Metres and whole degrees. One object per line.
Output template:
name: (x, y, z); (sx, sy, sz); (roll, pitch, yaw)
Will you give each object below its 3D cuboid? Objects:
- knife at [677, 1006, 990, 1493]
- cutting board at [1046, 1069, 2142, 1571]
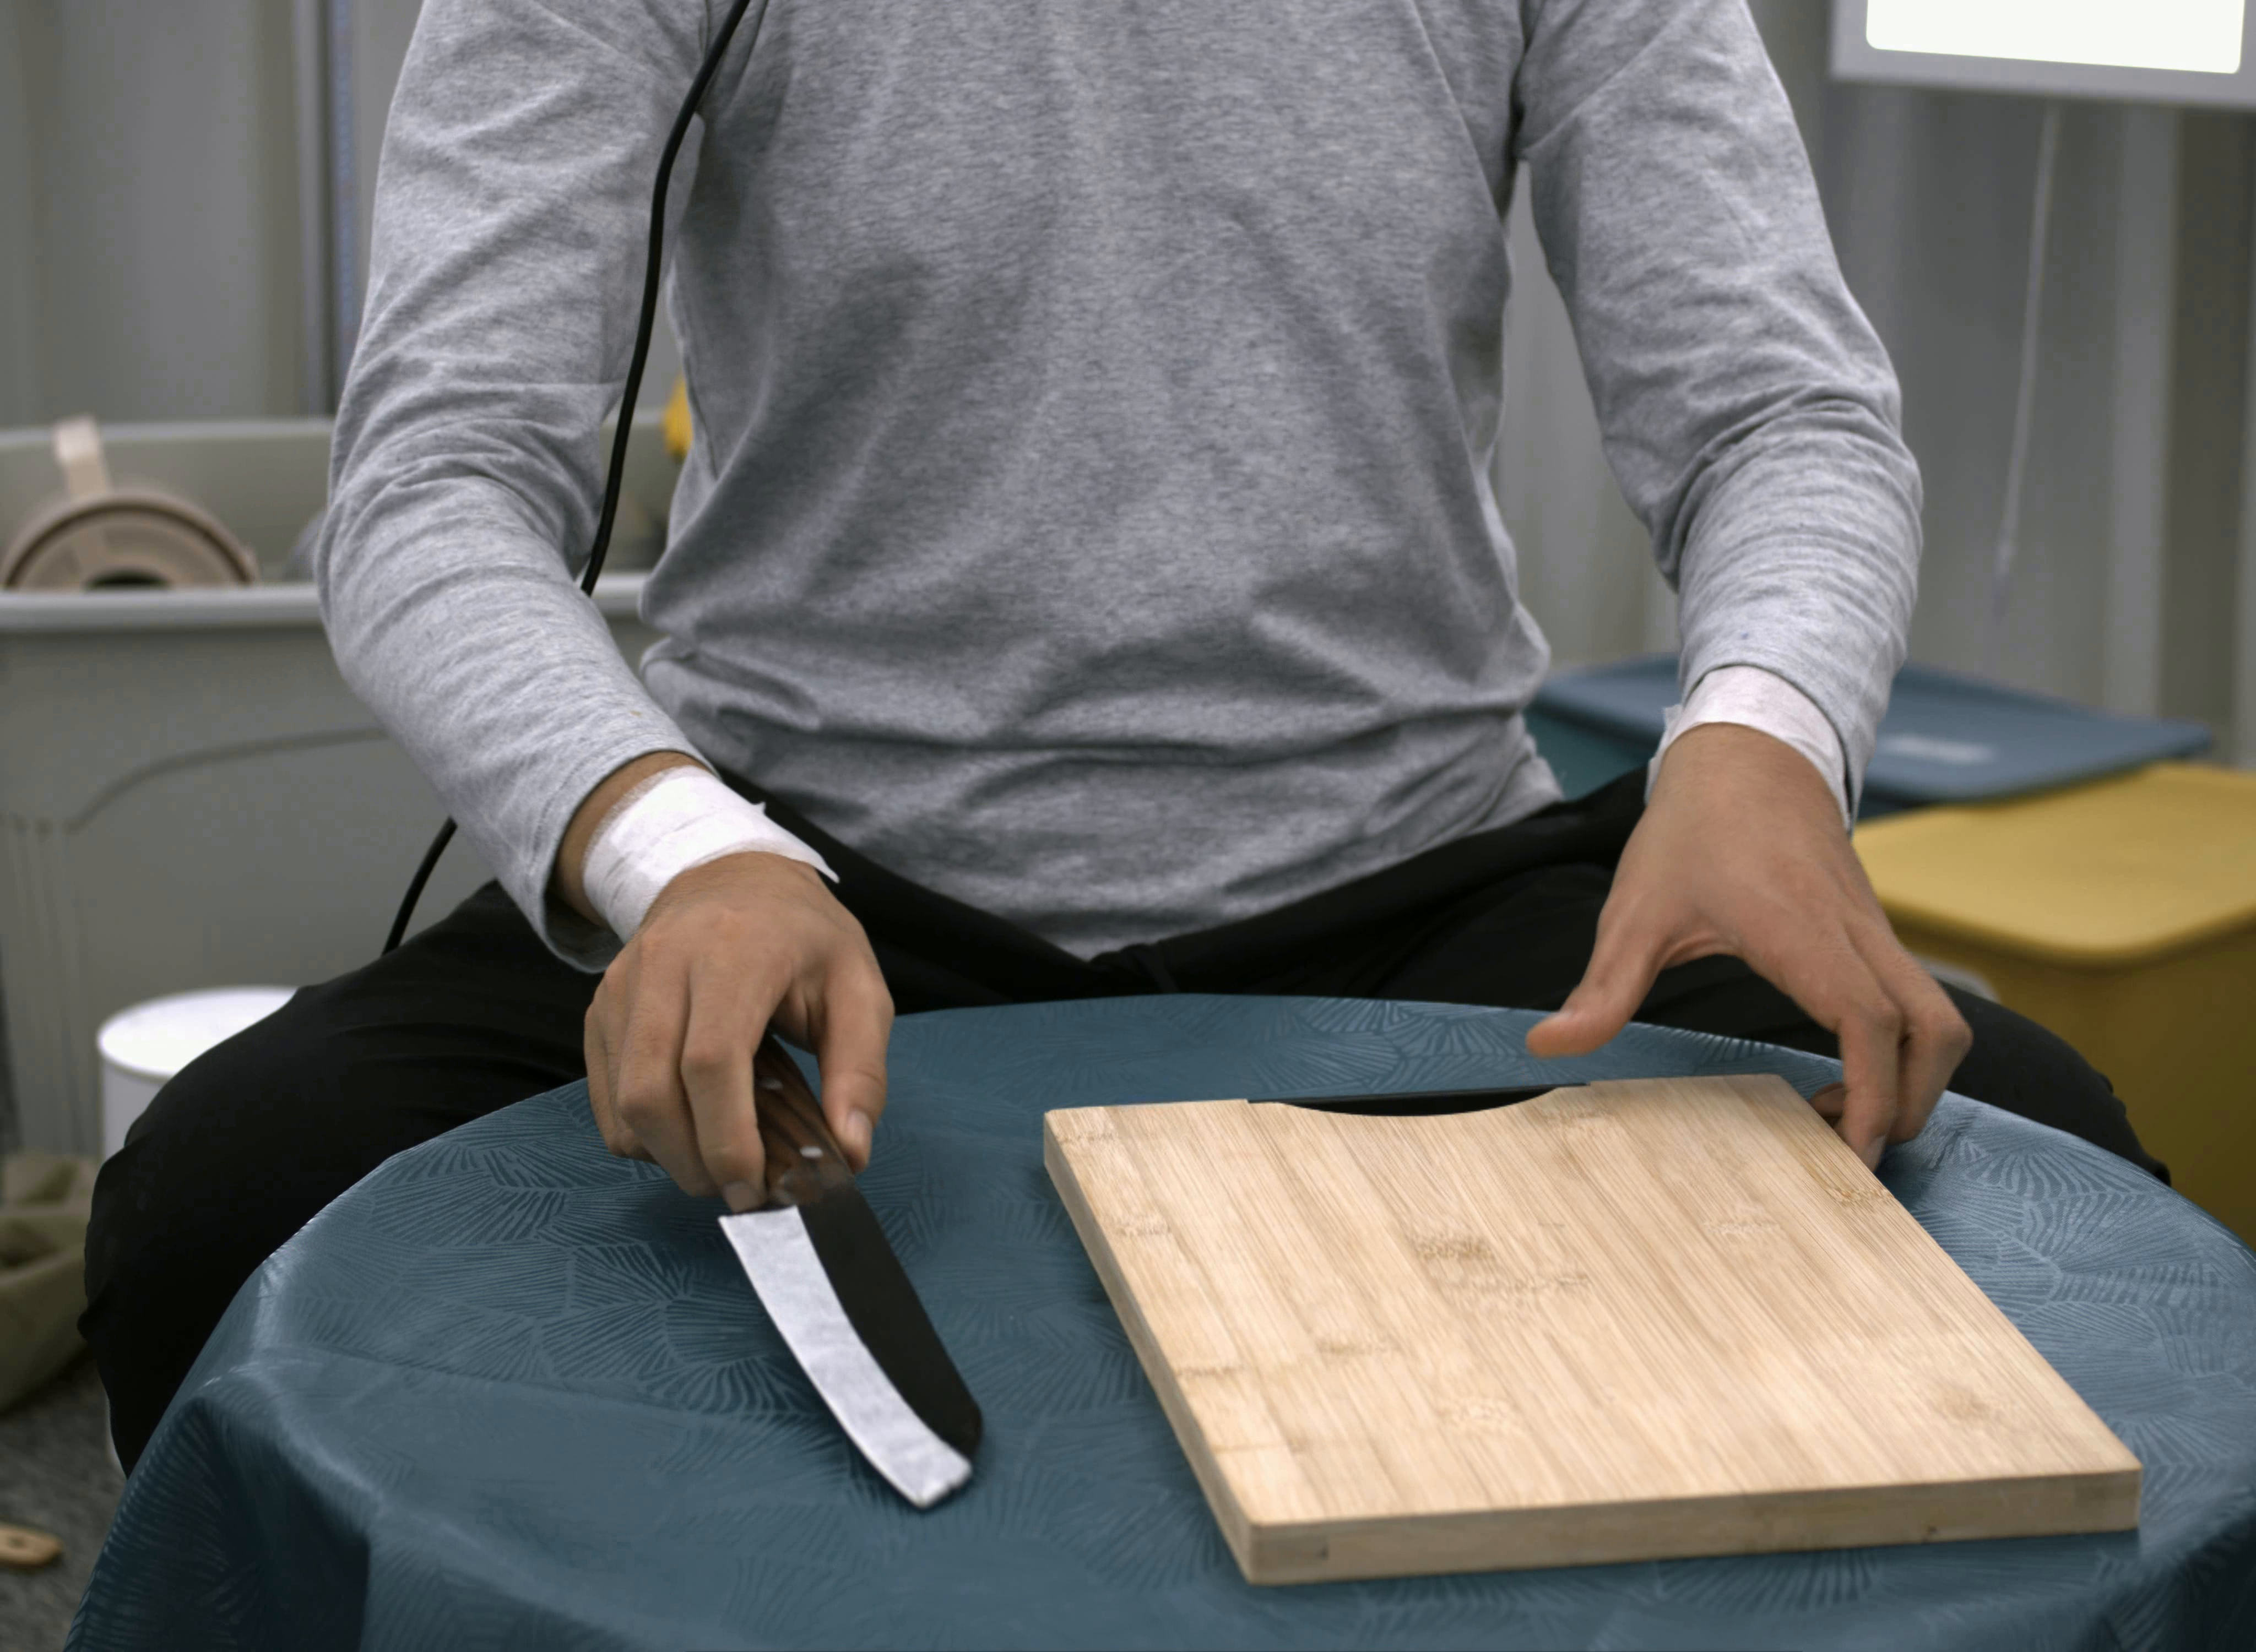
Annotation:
knife: (-0.089, 0.118, 1.499); (0.050, 0.020, 0.286); (-6, 24, -14)
cutting board: (0.119, 0.135, 1.516); (0.251, 0.024, 0.345); (-2, 16, -10)
